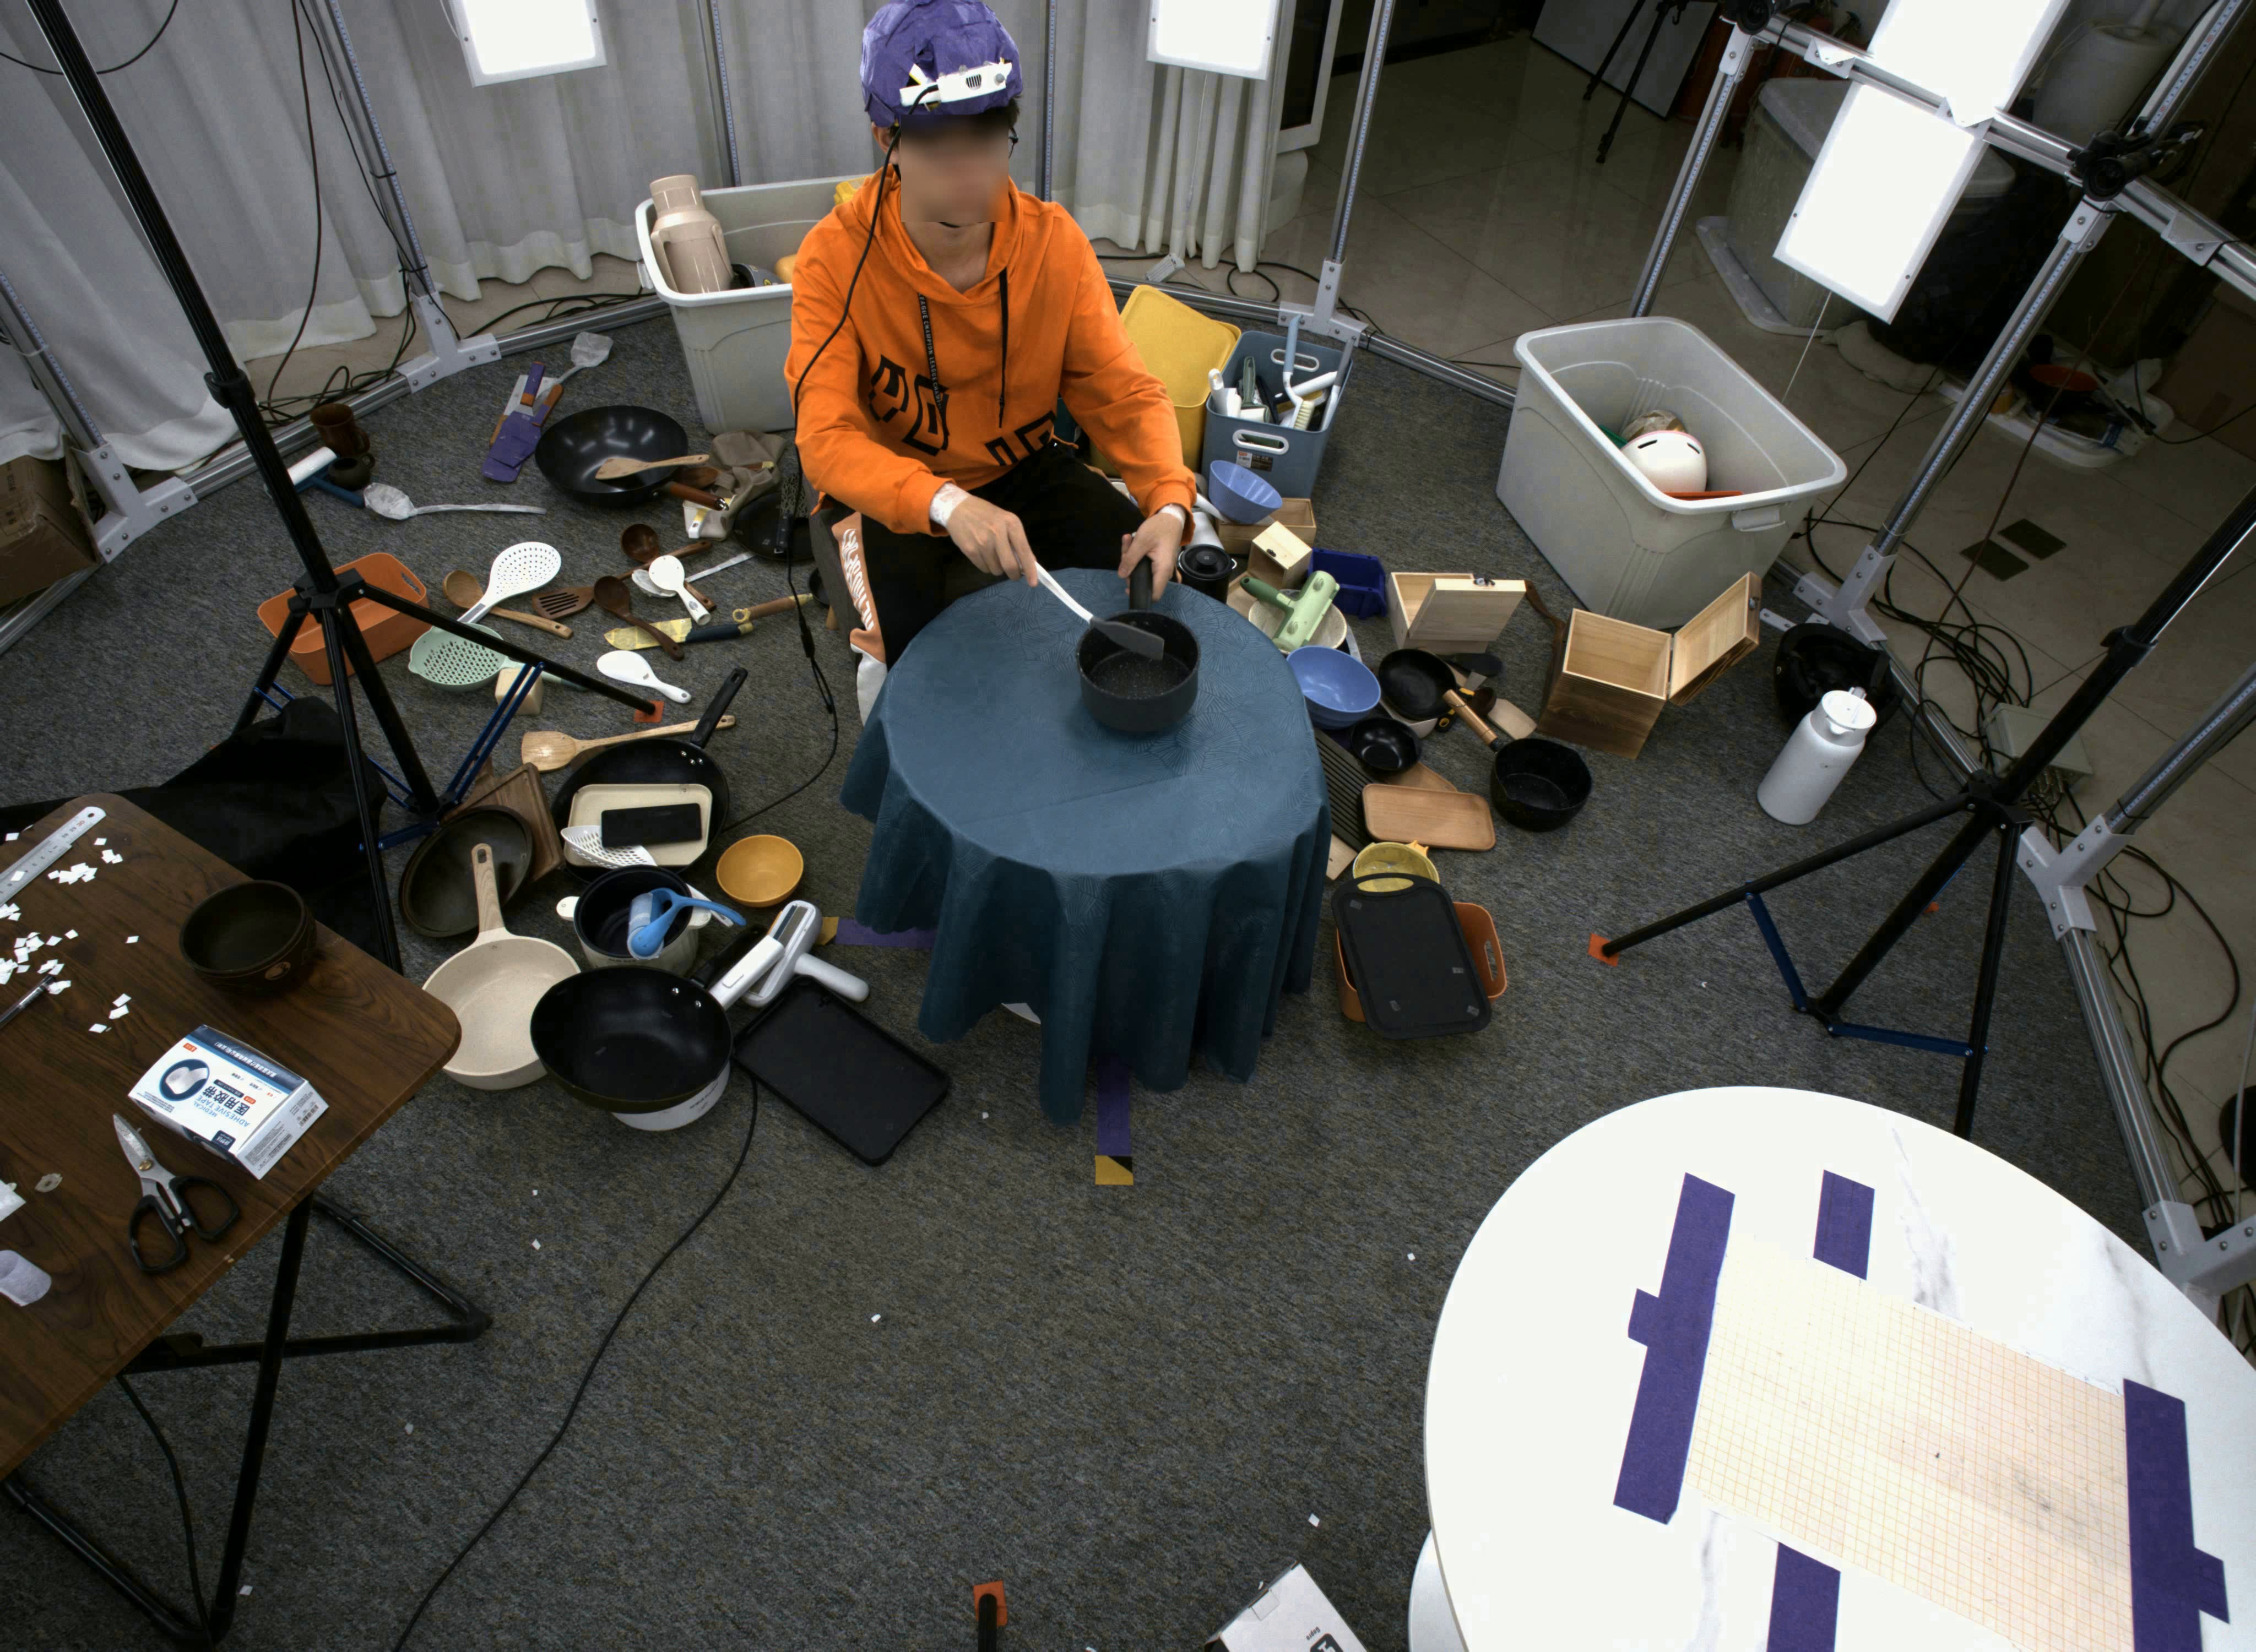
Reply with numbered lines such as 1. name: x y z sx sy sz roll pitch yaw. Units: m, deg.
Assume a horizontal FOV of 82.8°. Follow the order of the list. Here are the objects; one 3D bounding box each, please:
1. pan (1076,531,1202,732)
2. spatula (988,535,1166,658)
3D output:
1. pan: 0.022 -0.278 1.823 0.172 0.084 0.336 3 53 4
2. spatula: -0.069 -0.306 1.727 0.290 0.057 0.032 35 65 16
